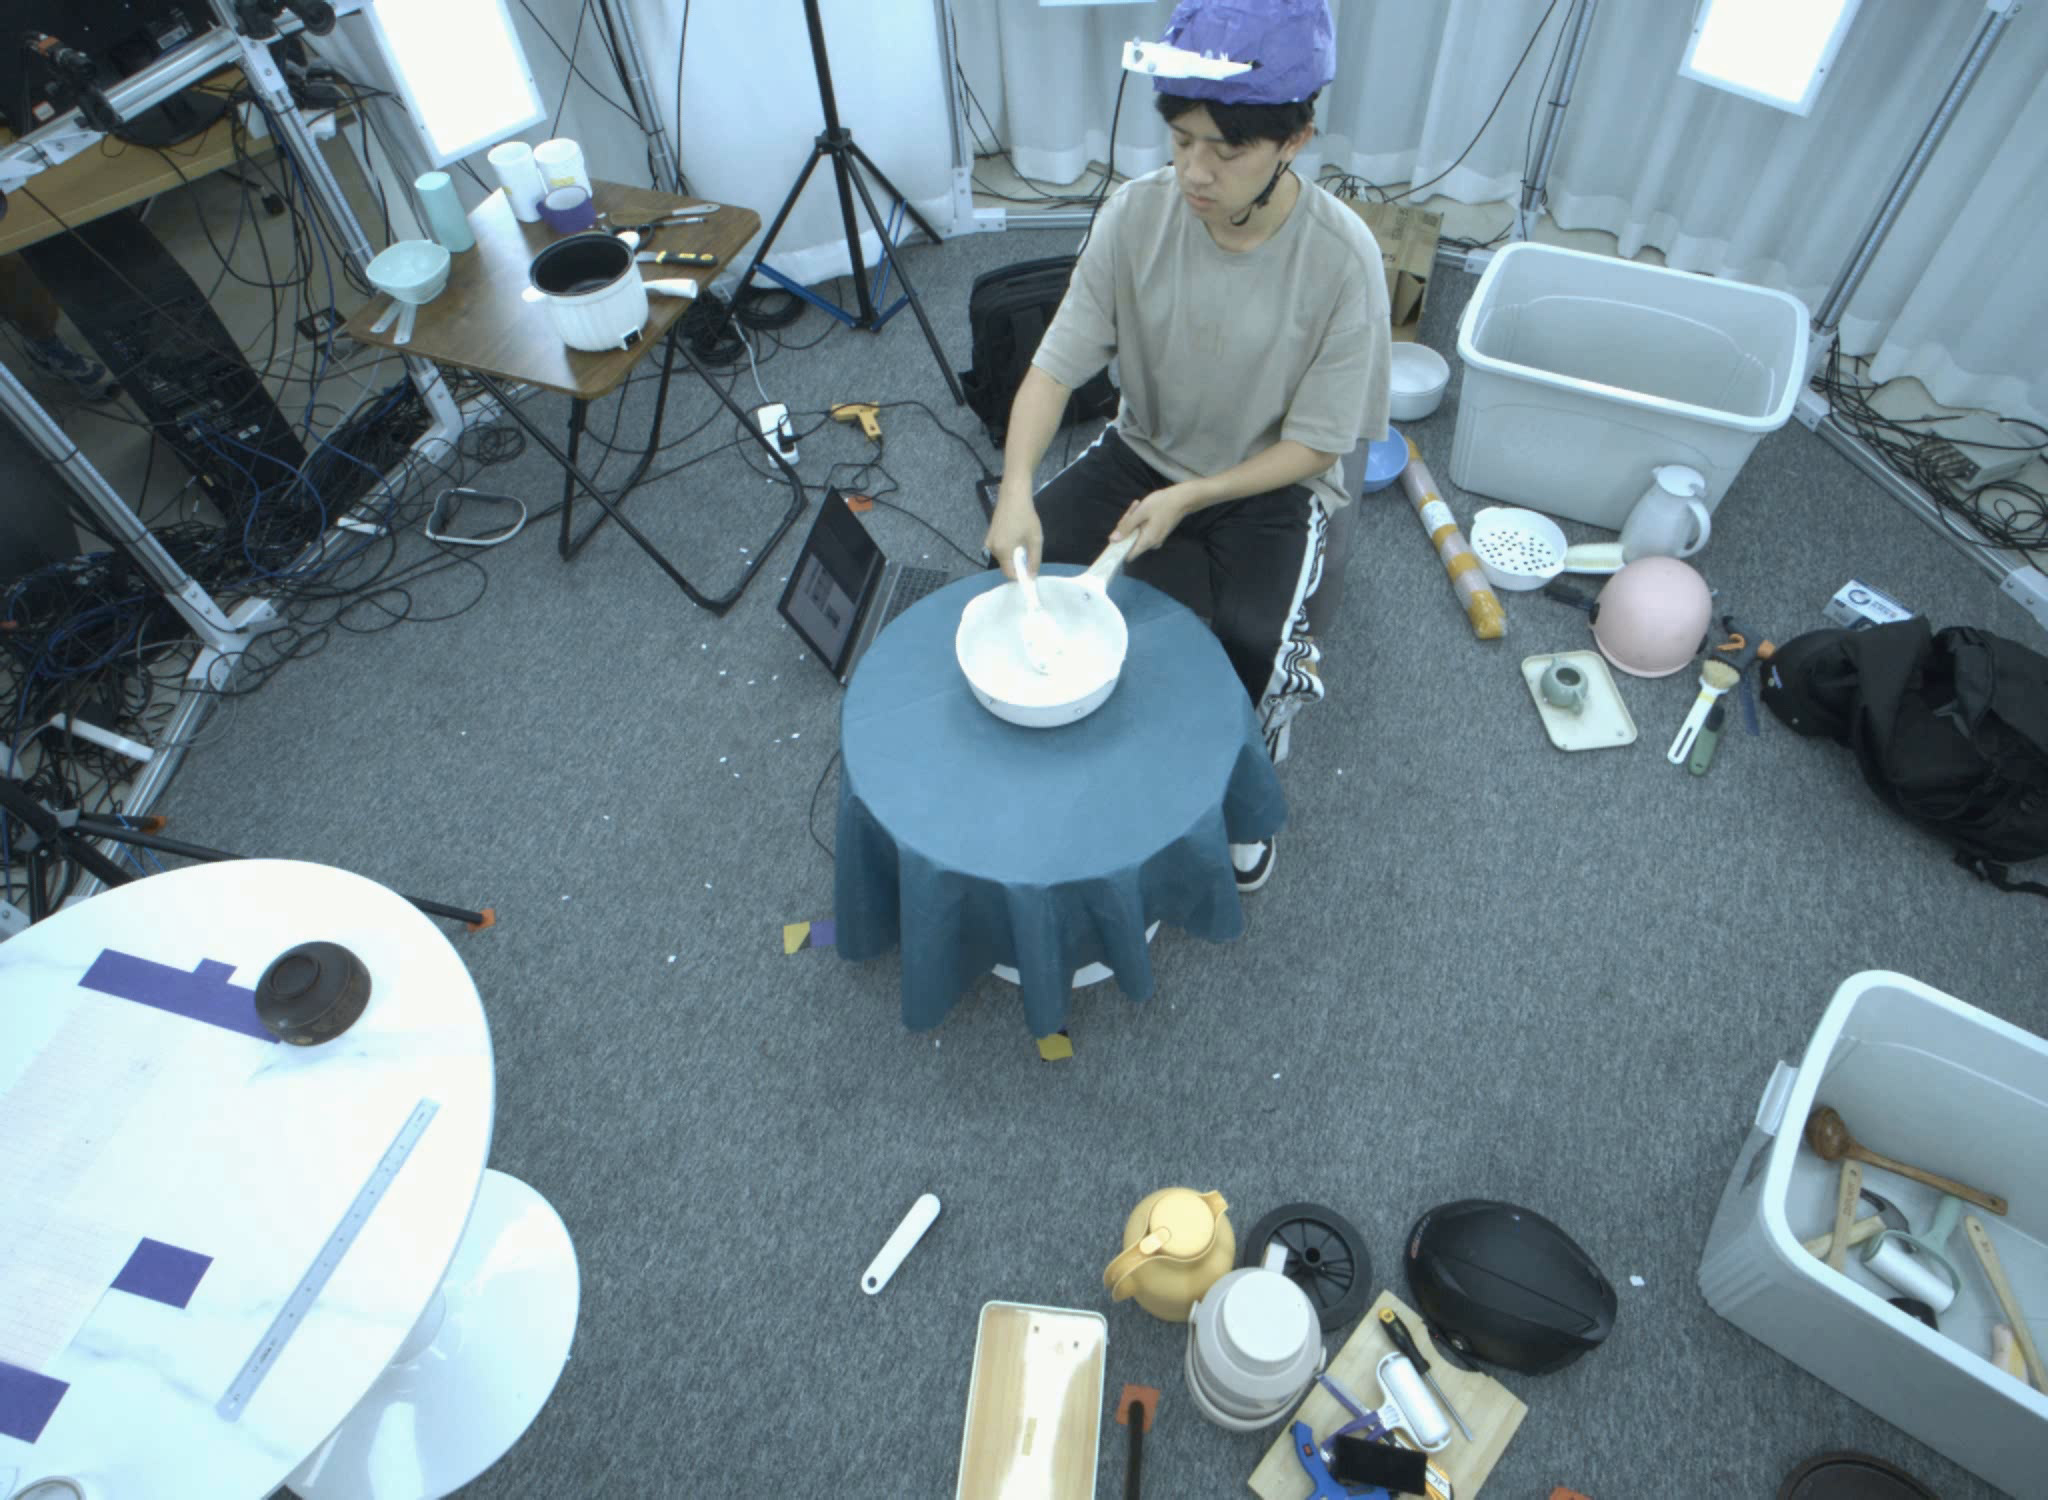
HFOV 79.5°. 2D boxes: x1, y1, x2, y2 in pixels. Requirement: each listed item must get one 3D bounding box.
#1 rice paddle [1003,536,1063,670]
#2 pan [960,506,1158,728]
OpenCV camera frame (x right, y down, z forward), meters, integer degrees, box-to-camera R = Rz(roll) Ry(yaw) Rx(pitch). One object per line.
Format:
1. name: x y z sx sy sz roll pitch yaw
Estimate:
1. rice paddle: 0.012 -0.219 1.846 0.070 0.029 0.206 -20 97 -32
2. pan: 0.085 -0.205 1.868 0.259 0.103 0.437 27 60 22
